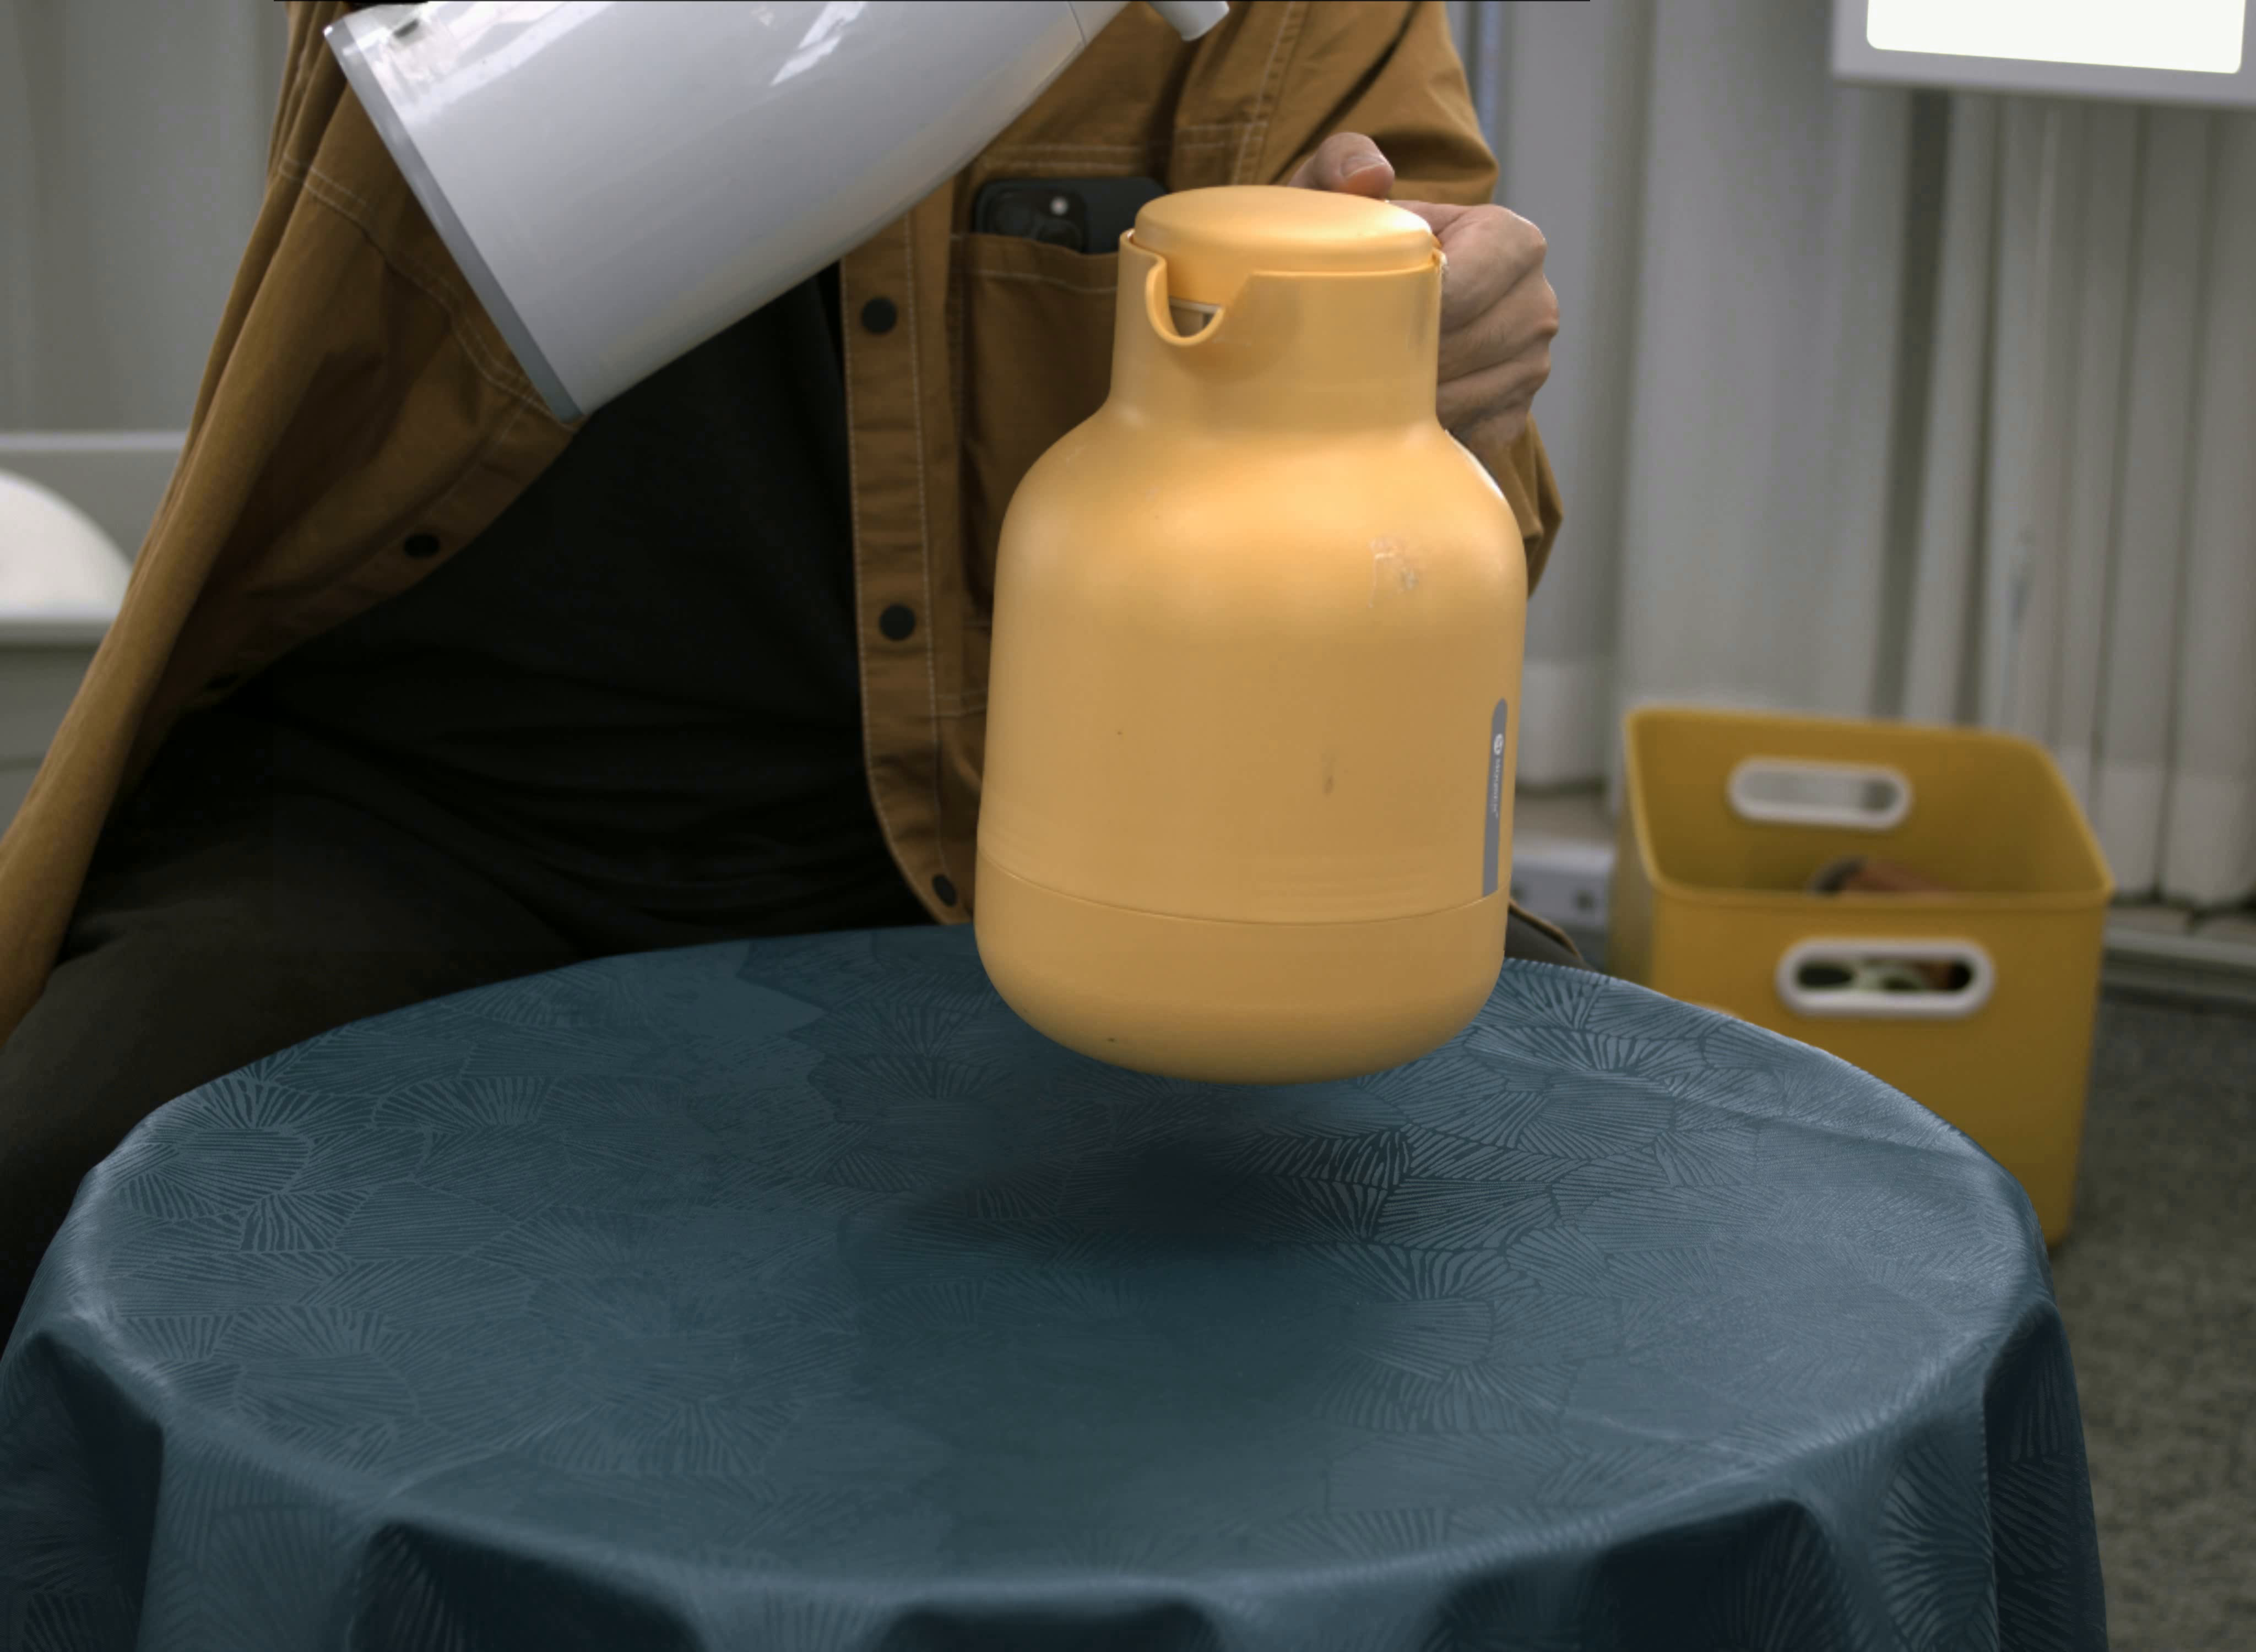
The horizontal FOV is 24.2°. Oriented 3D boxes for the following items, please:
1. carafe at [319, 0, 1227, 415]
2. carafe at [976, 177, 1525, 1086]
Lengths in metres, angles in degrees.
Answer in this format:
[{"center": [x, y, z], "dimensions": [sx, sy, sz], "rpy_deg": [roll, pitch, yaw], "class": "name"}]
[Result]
[{"center": [-0.099, -0.251, 1.487], "dimensions": [0.248, 0.169, 0.131], "rpy_deg": [-31, 21, -2], "class": "carafe"}, {"center": [0.049, -0.066, 1.595], "dimensions": [0.161, 0.262, 0.203], "rpy_deg": [12, 19, 23], "class": "carafe"}]
